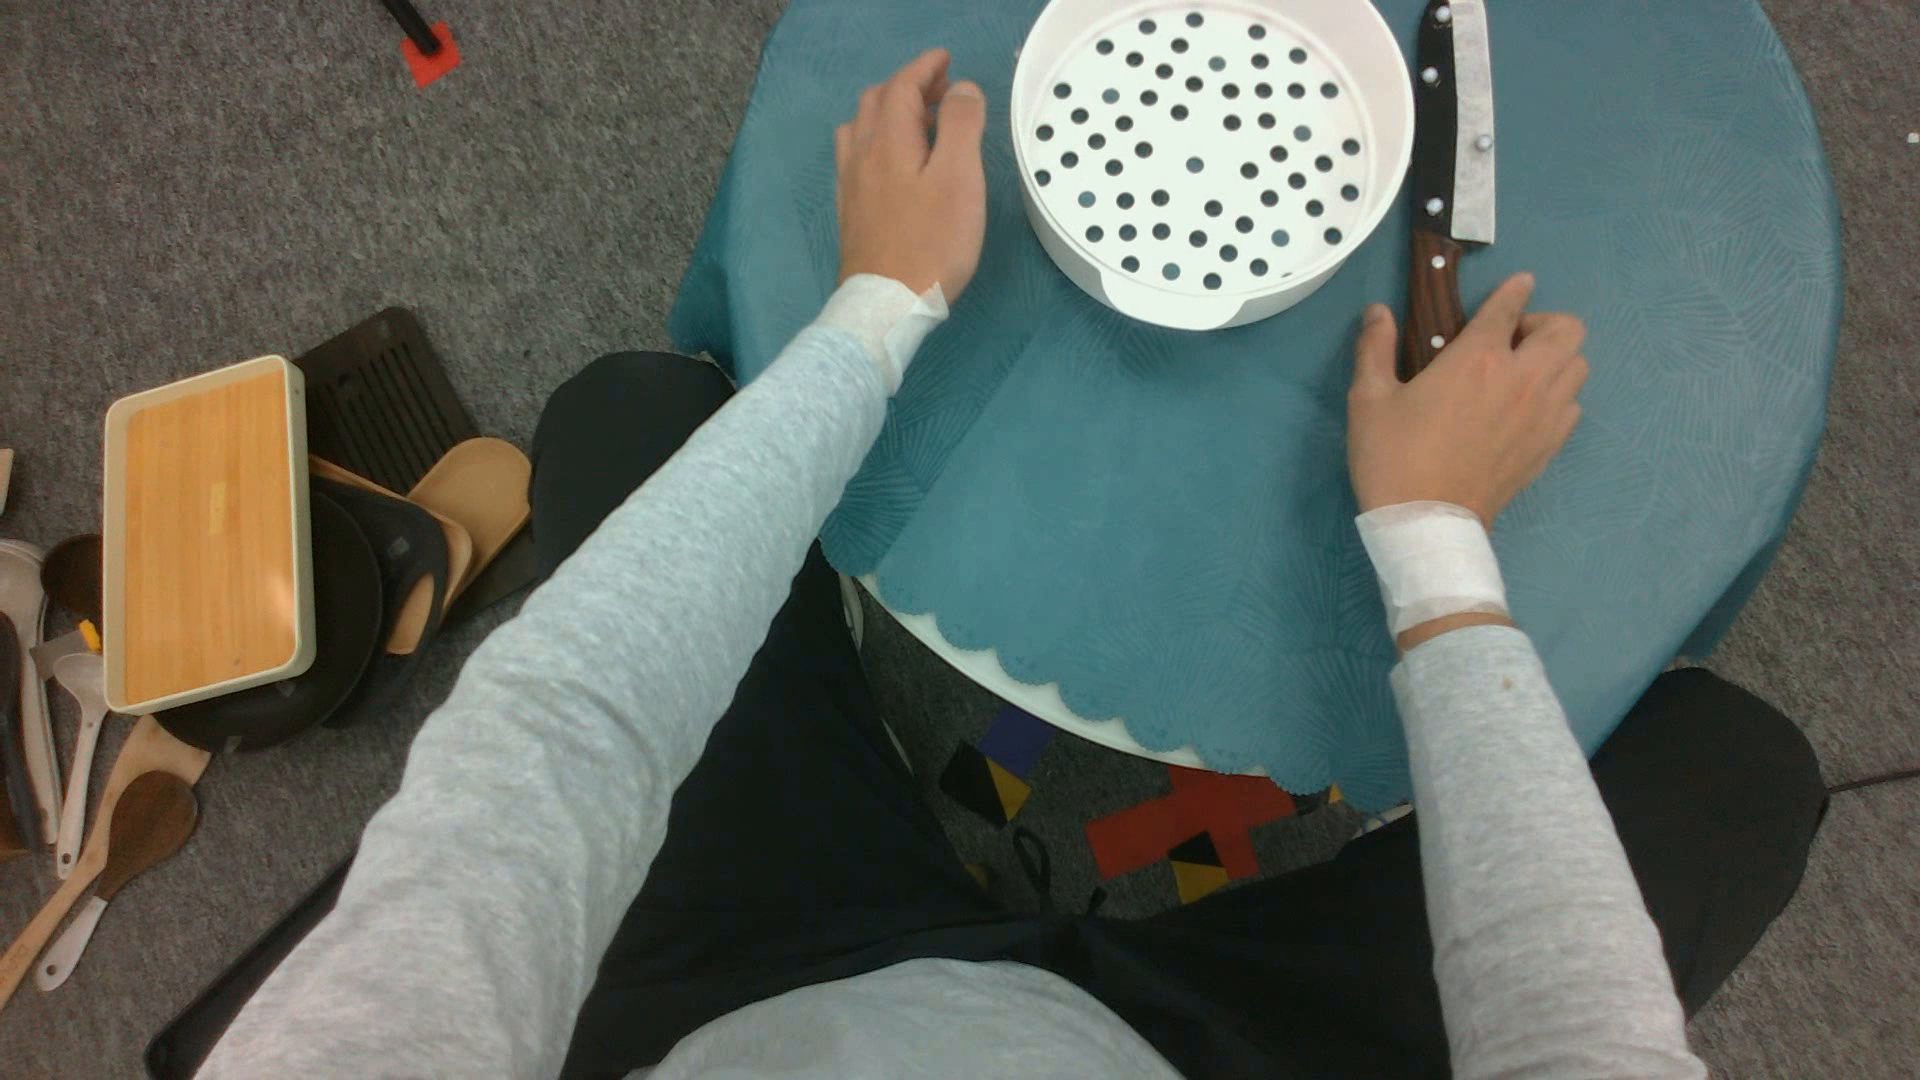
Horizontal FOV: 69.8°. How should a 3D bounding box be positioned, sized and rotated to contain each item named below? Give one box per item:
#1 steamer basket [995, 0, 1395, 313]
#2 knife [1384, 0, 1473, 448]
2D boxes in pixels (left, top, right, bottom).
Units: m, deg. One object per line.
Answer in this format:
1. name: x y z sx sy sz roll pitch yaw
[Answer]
1. steamer basket: 0.120 -0.220 0.725 0.202 0.069 0.231 12 80 4
2. knife: 0.252 -0.186 0.742 0.050 0.020 0.290 7 76 1
